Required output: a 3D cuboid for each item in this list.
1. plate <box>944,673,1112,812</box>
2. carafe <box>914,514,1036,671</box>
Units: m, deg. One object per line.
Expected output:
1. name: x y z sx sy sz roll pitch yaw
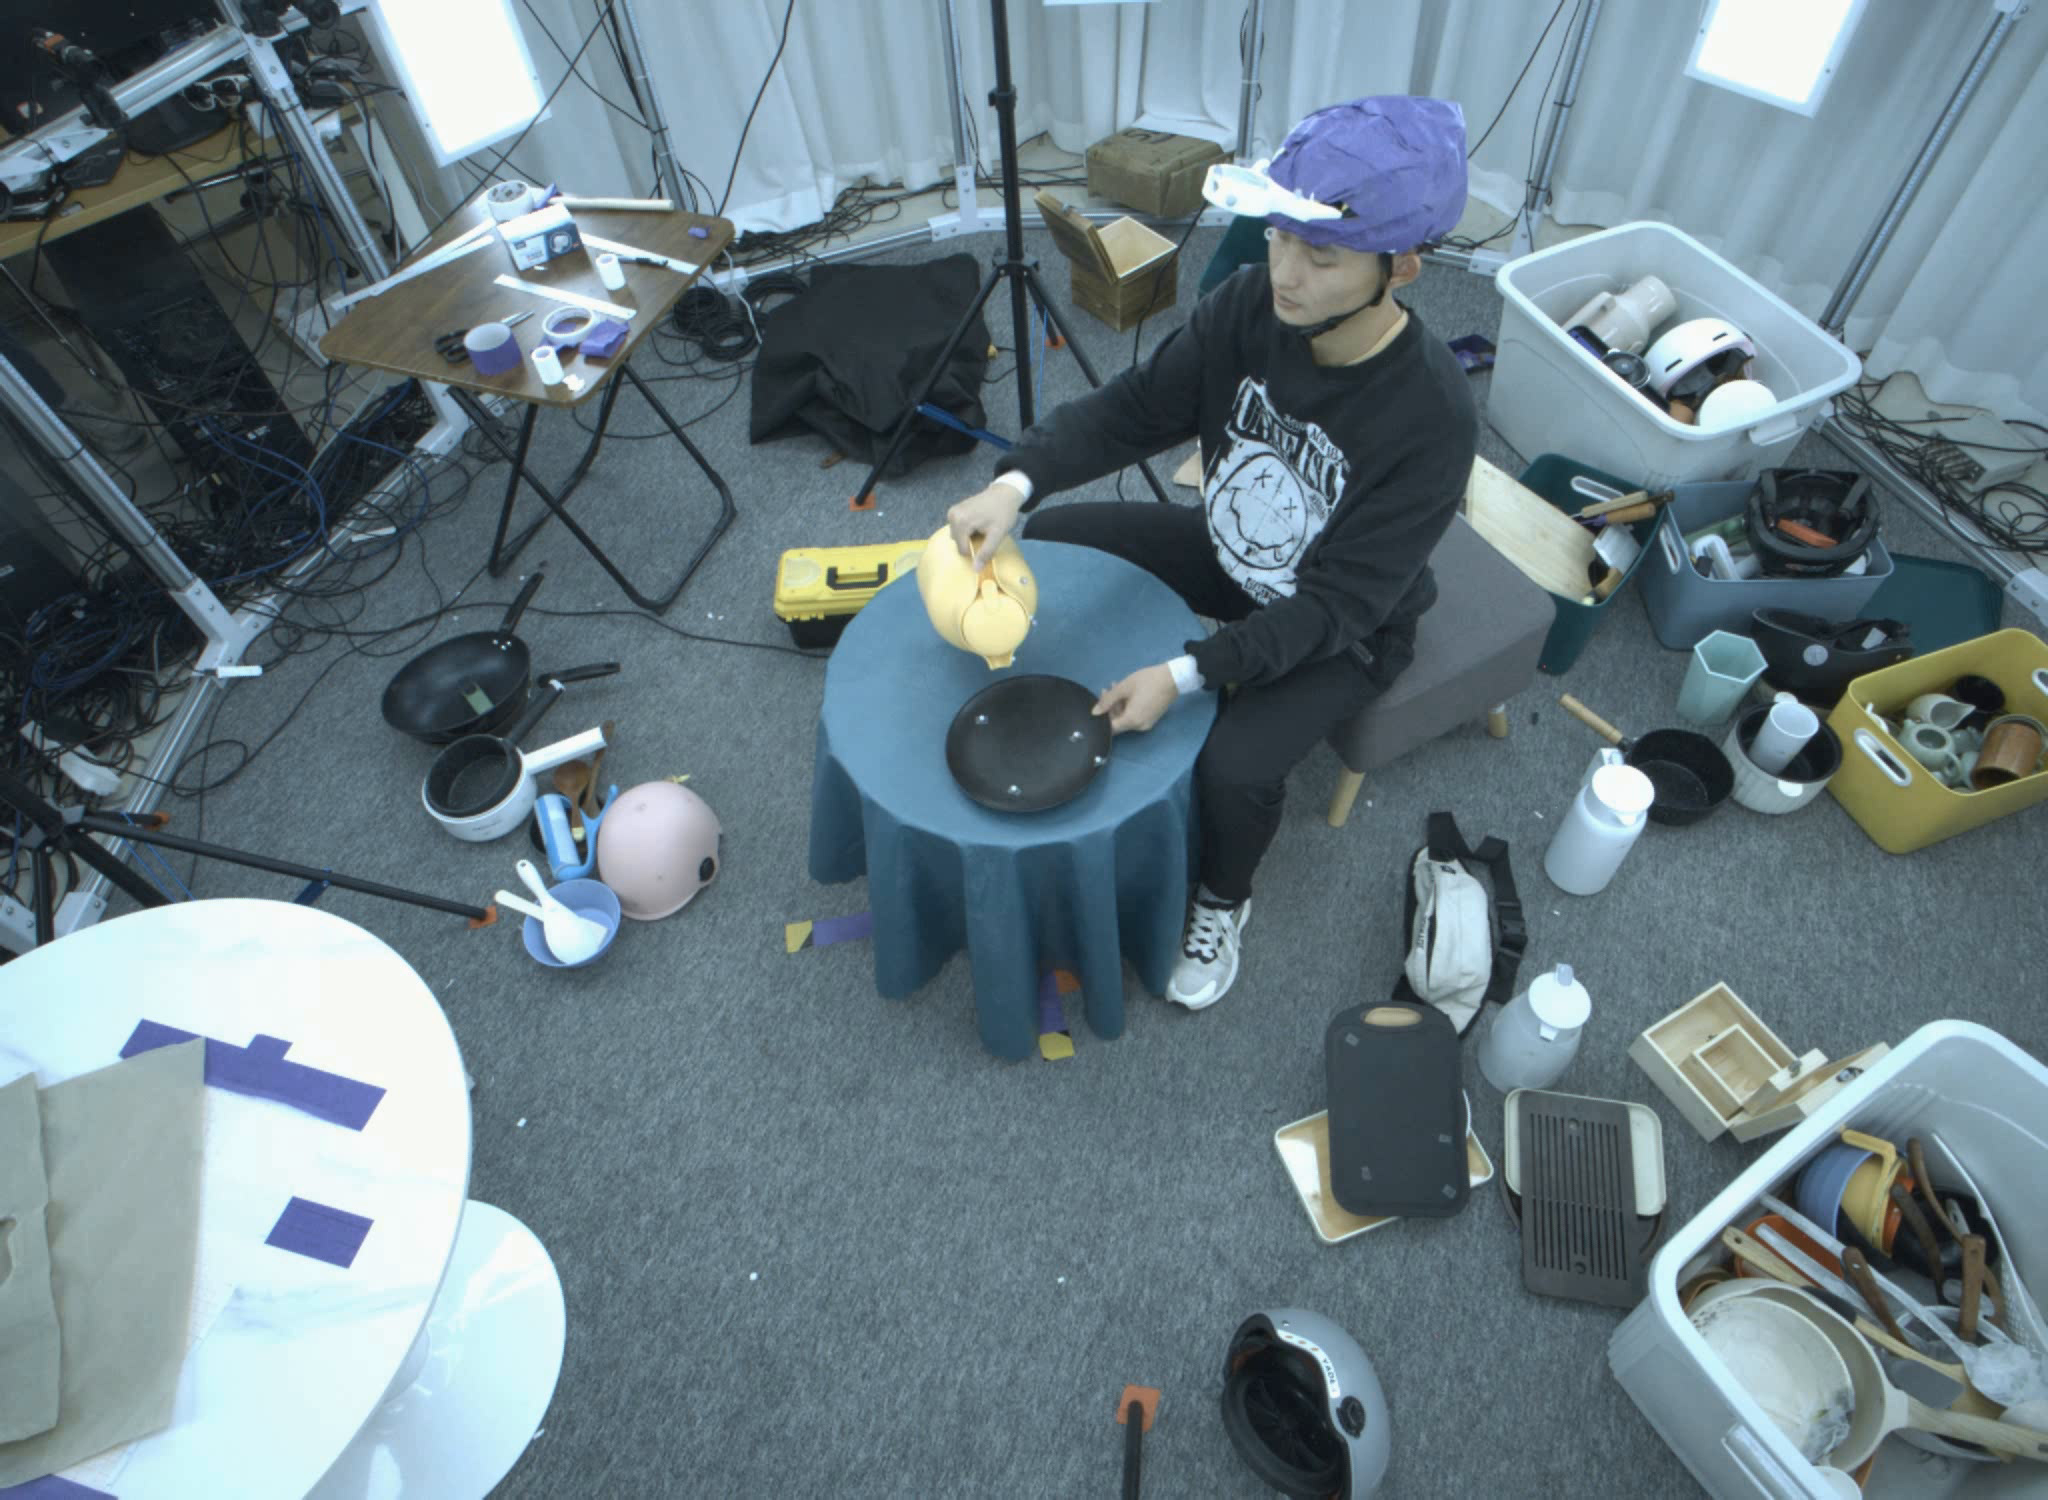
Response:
1. plate: 0.006 -0.010 1.766 0.243 0.024 0.242 -3 55 6
2. carafe: -0.065 -0.241 1.749 0.164 0.204 0.256 -10 32 -10
